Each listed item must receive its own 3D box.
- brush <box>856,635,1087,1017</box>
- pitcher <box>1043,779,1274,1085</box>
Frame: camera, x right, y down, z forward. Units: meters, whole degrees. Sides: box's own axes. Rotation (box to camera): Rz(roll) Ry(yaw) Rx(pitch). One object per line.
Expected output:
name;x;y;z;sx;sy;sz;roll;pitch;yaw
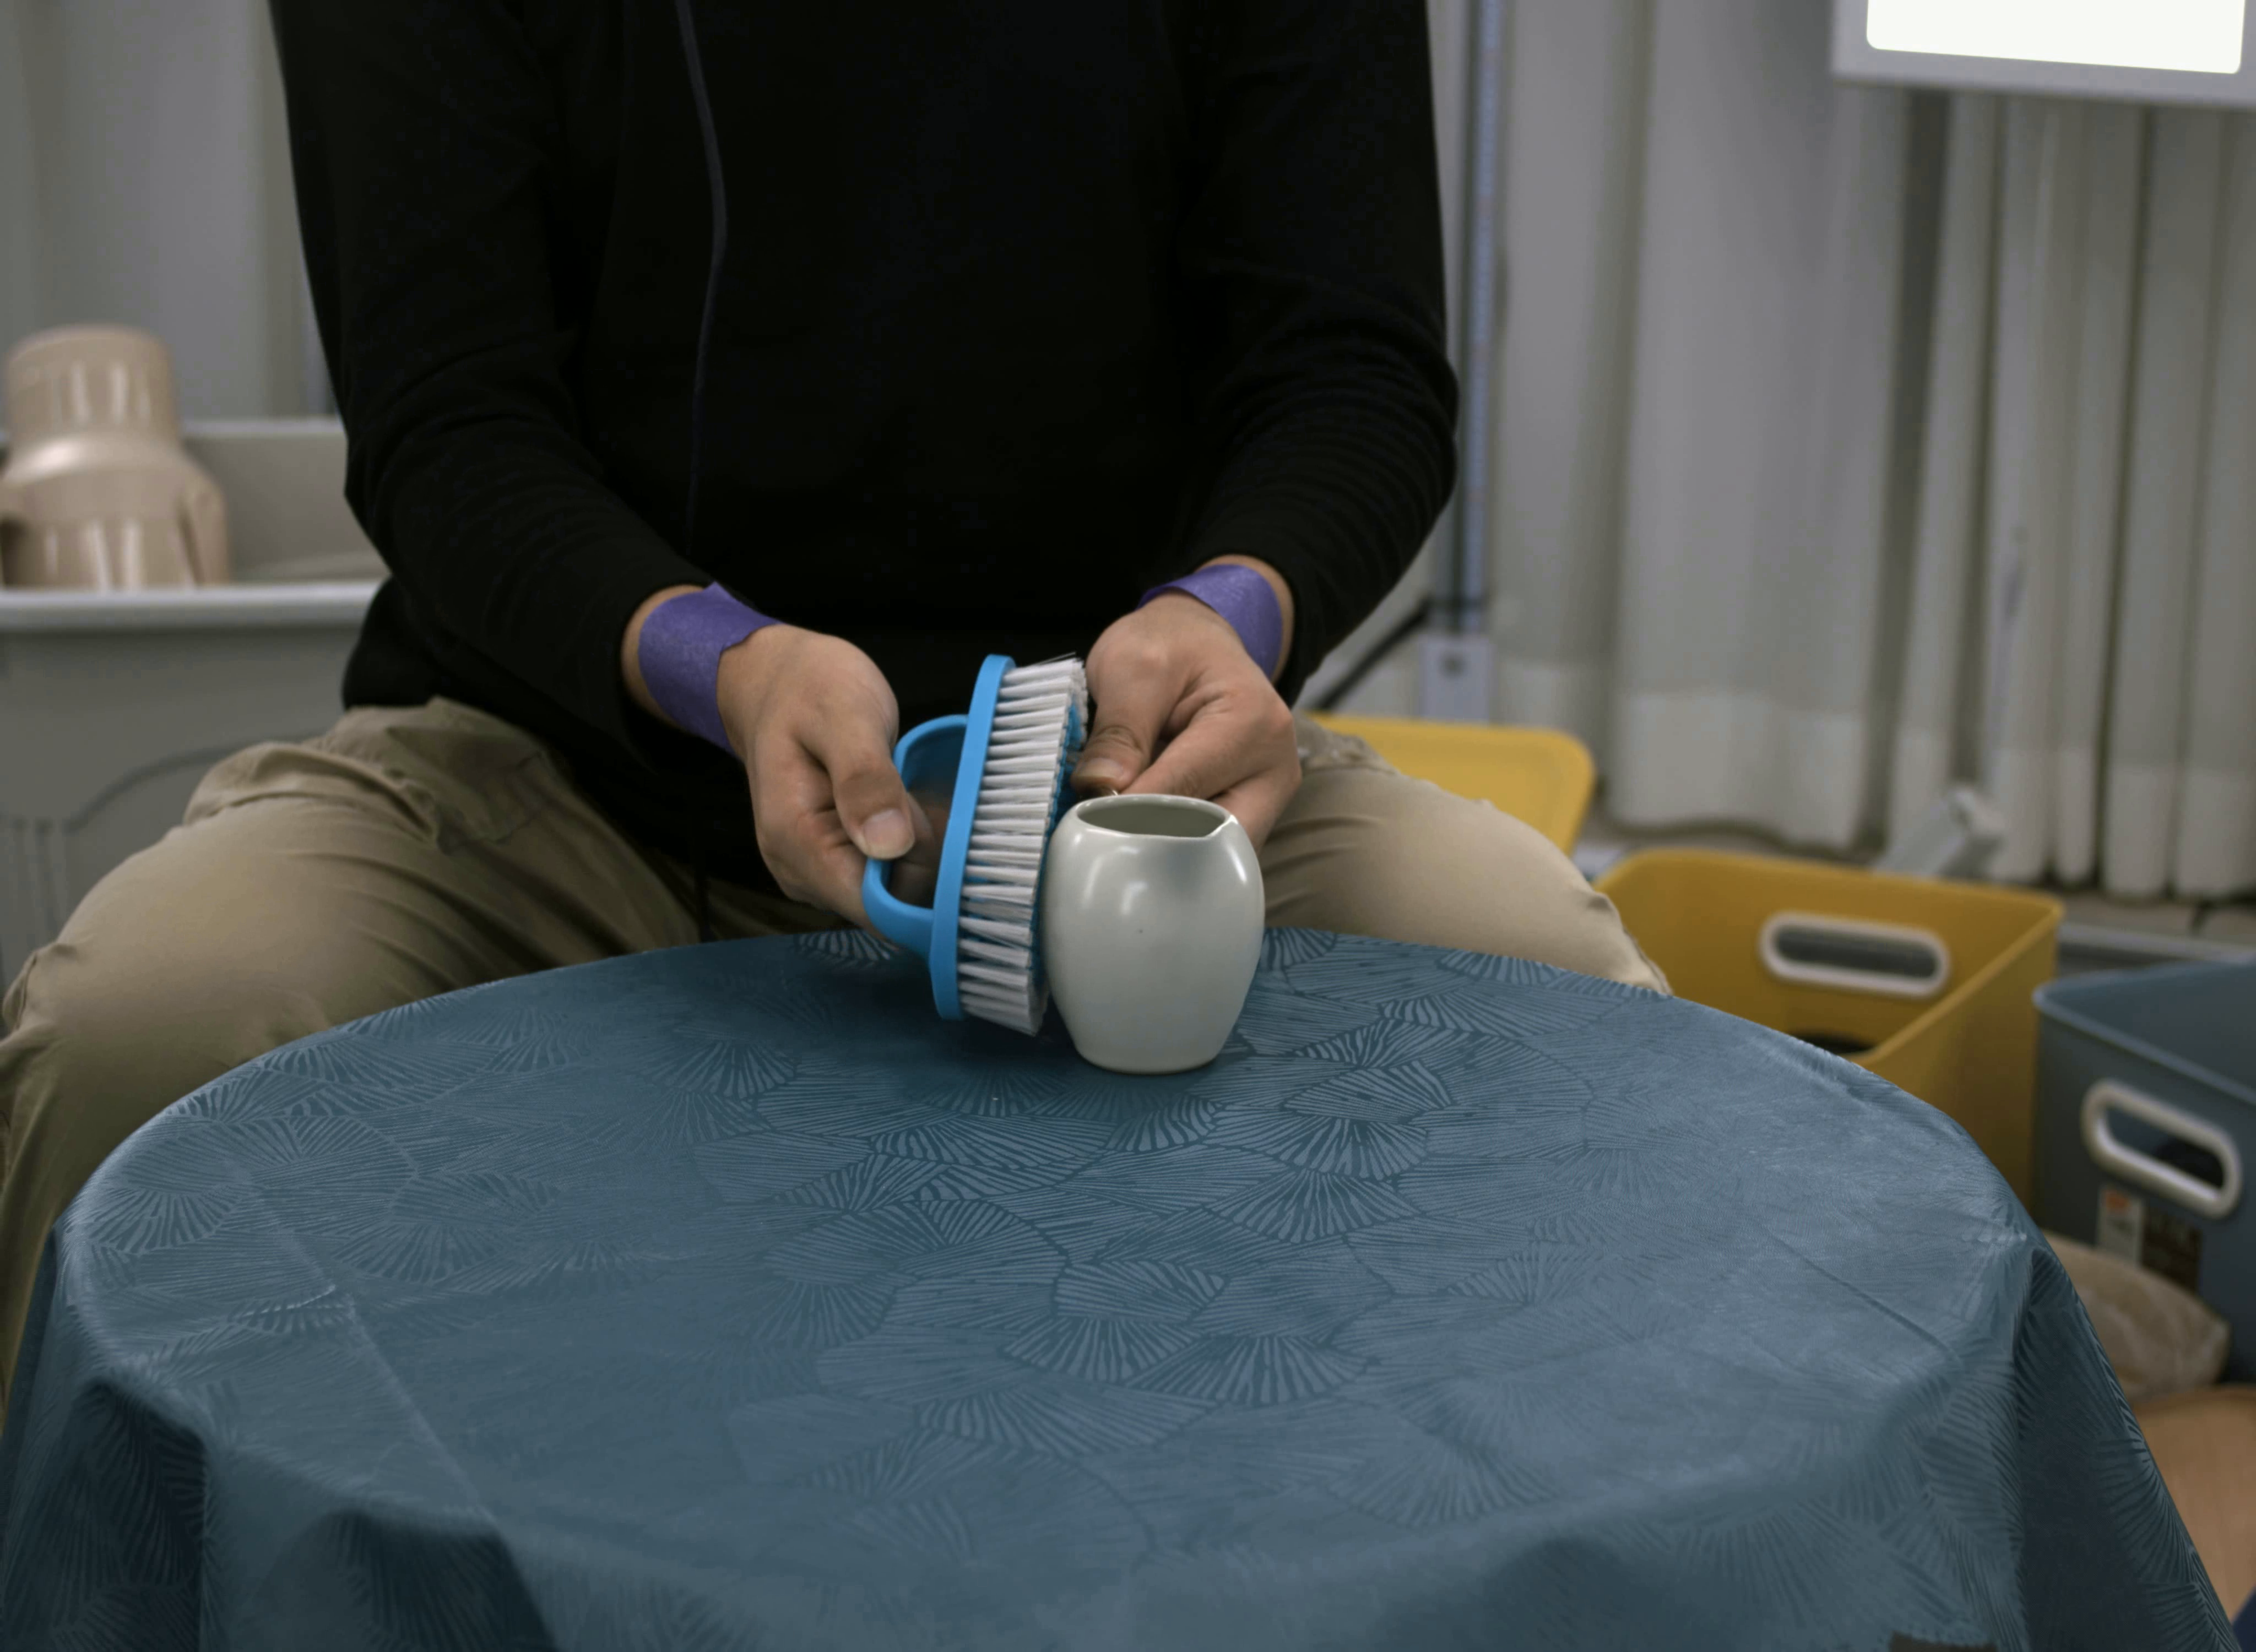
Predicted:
brush;-0.055;0.001;1.766;0.063;0.085;0.141;4;54;10
pitcher;0.007;0.034;1.739;0.076;0.088;0.118;2;19;-16
